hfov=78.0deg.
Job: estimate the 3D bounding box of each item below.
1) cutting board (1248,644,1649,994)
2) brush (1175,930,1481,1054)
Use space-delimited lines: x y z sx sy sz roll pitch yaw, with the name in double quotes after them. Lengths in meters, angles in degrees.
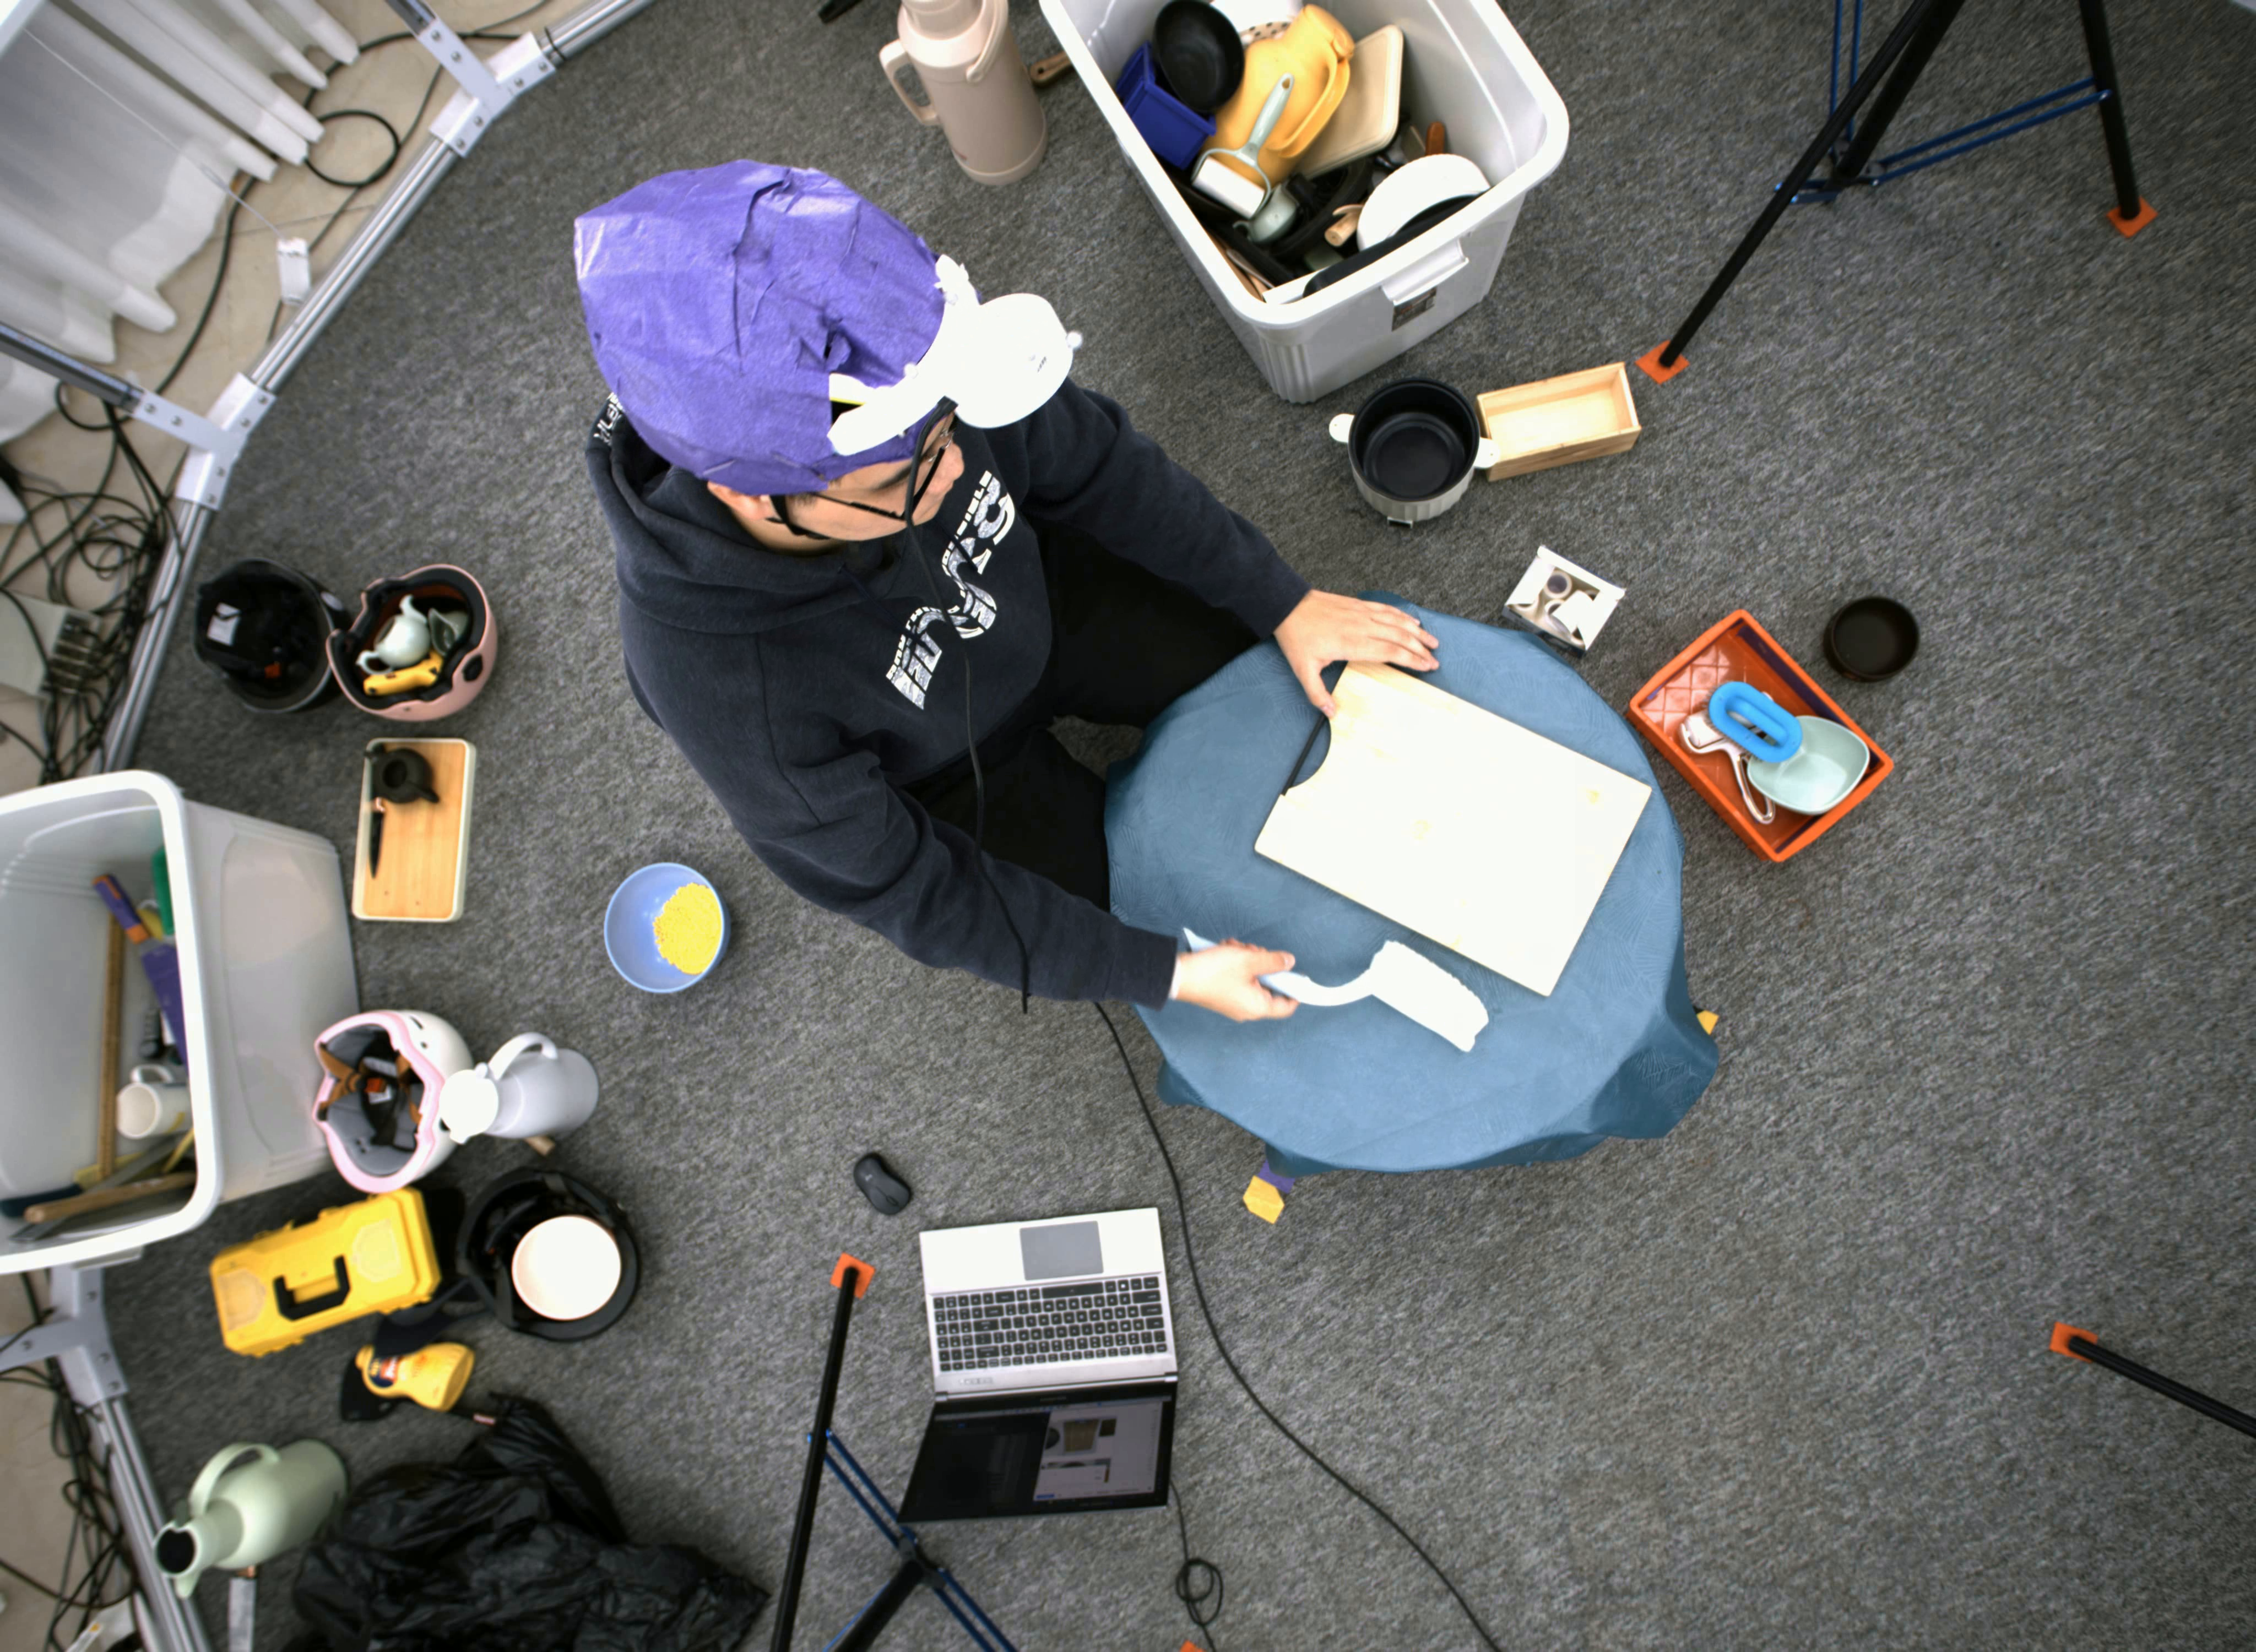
0.332 -0.011 1.446 0.348 0.023 0.251 26 91 11 "cutting board"
0.209 0.139 1.405 0.326 0.082 0.085 21 132 -1 "brush"
